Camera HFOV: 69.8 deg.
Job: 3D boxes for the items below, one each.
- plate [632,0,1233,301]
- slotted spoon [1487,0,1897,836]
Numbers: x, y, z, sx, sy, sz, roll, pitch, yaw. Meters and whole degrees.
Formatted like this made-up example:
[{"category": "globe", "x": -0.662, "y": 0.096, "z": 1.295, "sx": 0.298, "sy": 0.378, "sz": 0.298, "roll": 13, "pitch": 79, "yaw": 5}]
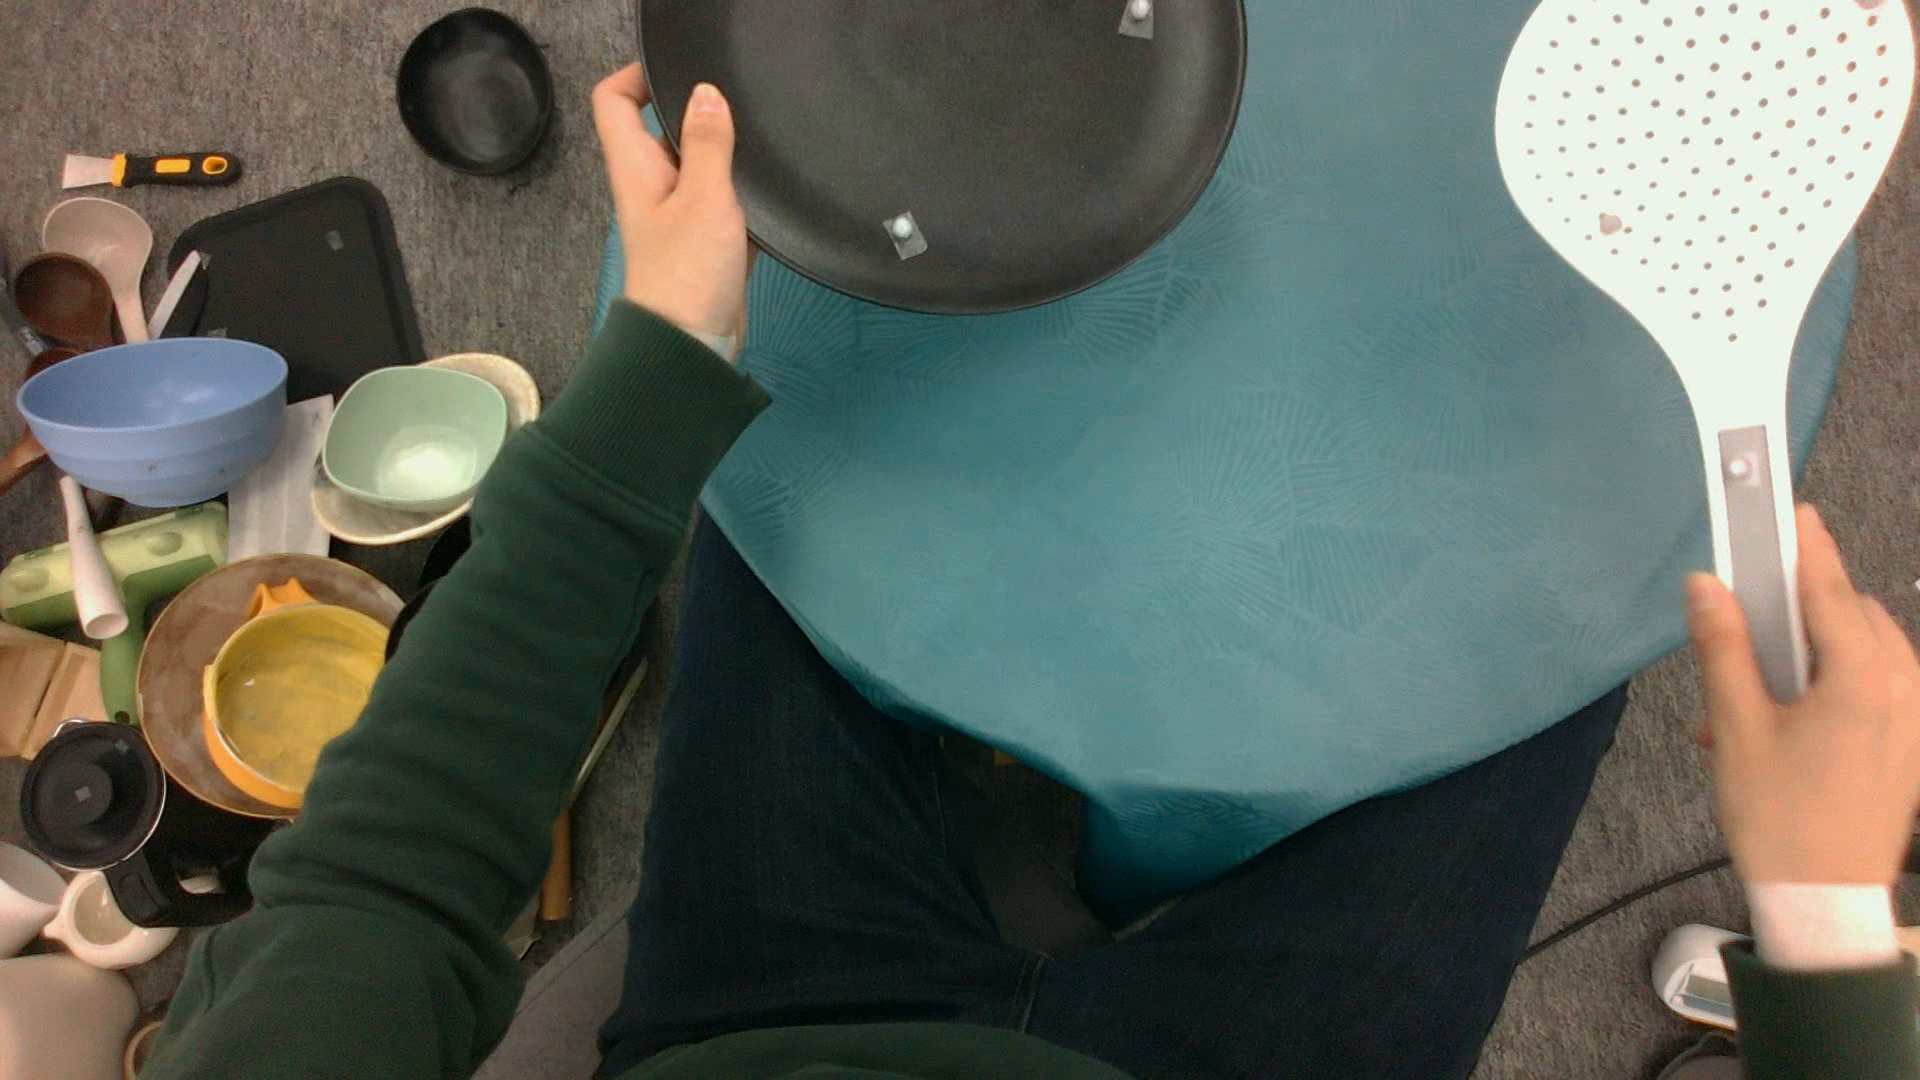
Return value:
[{"category": "plate", "x": -0.009, "y": -0.211, "z": 0.564, "sx": 0.244, "sy": 0.023, "sz": 0.245, "roll": 1, "pitch": 80, "yaw": -7}, {"category": "slotted spoon", "x": 0.279, "y": -0.067, "z": 0.513, "sx": 0.135, "sy": 0.046, "sz": 0.350, "roll": -6, "pitch": 81, "yaw": 30}]
